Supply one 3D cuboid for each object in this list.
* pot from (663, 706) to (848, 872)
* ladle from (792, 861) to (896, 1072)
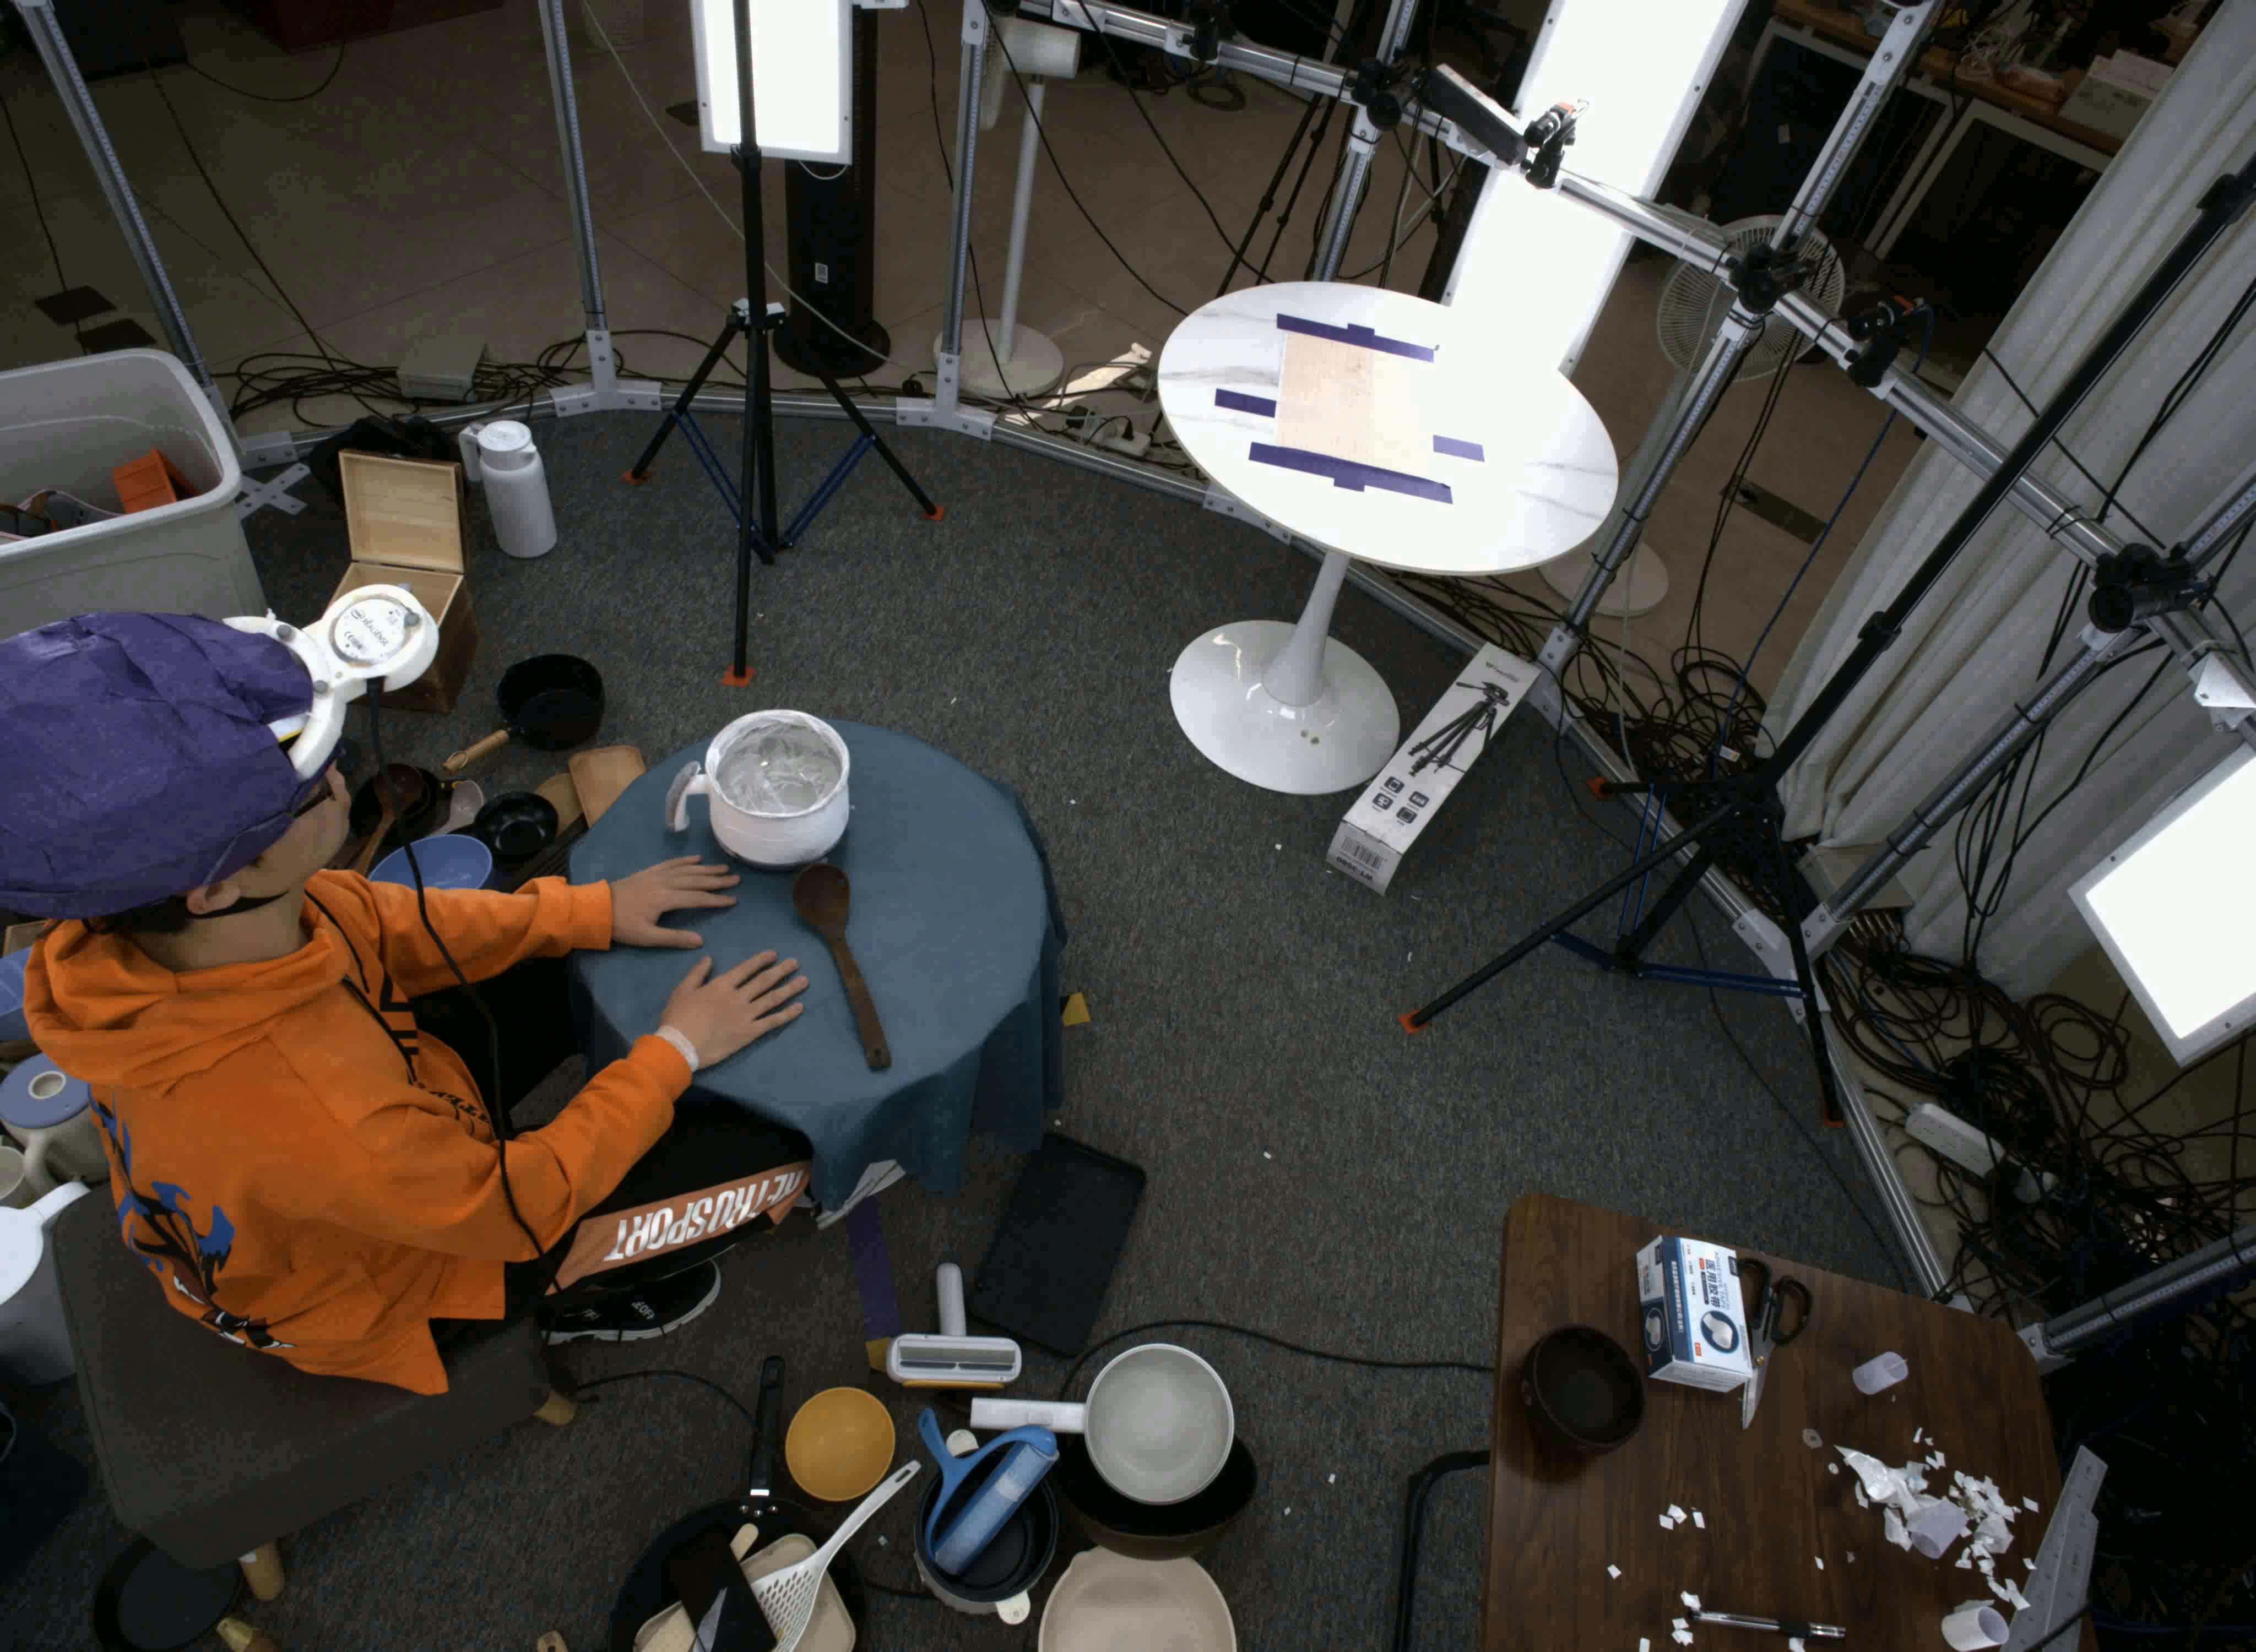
[{"bbox_3d":[-0.473,-0.041,1.642,0.234,0.139,0.174,-5,54,-18],"label":"pot"},{"bbox_3d":[-0.338,0.162,1.570,0.076,0.073,0.267,-17,59,-21],"label":"ladle"}]
